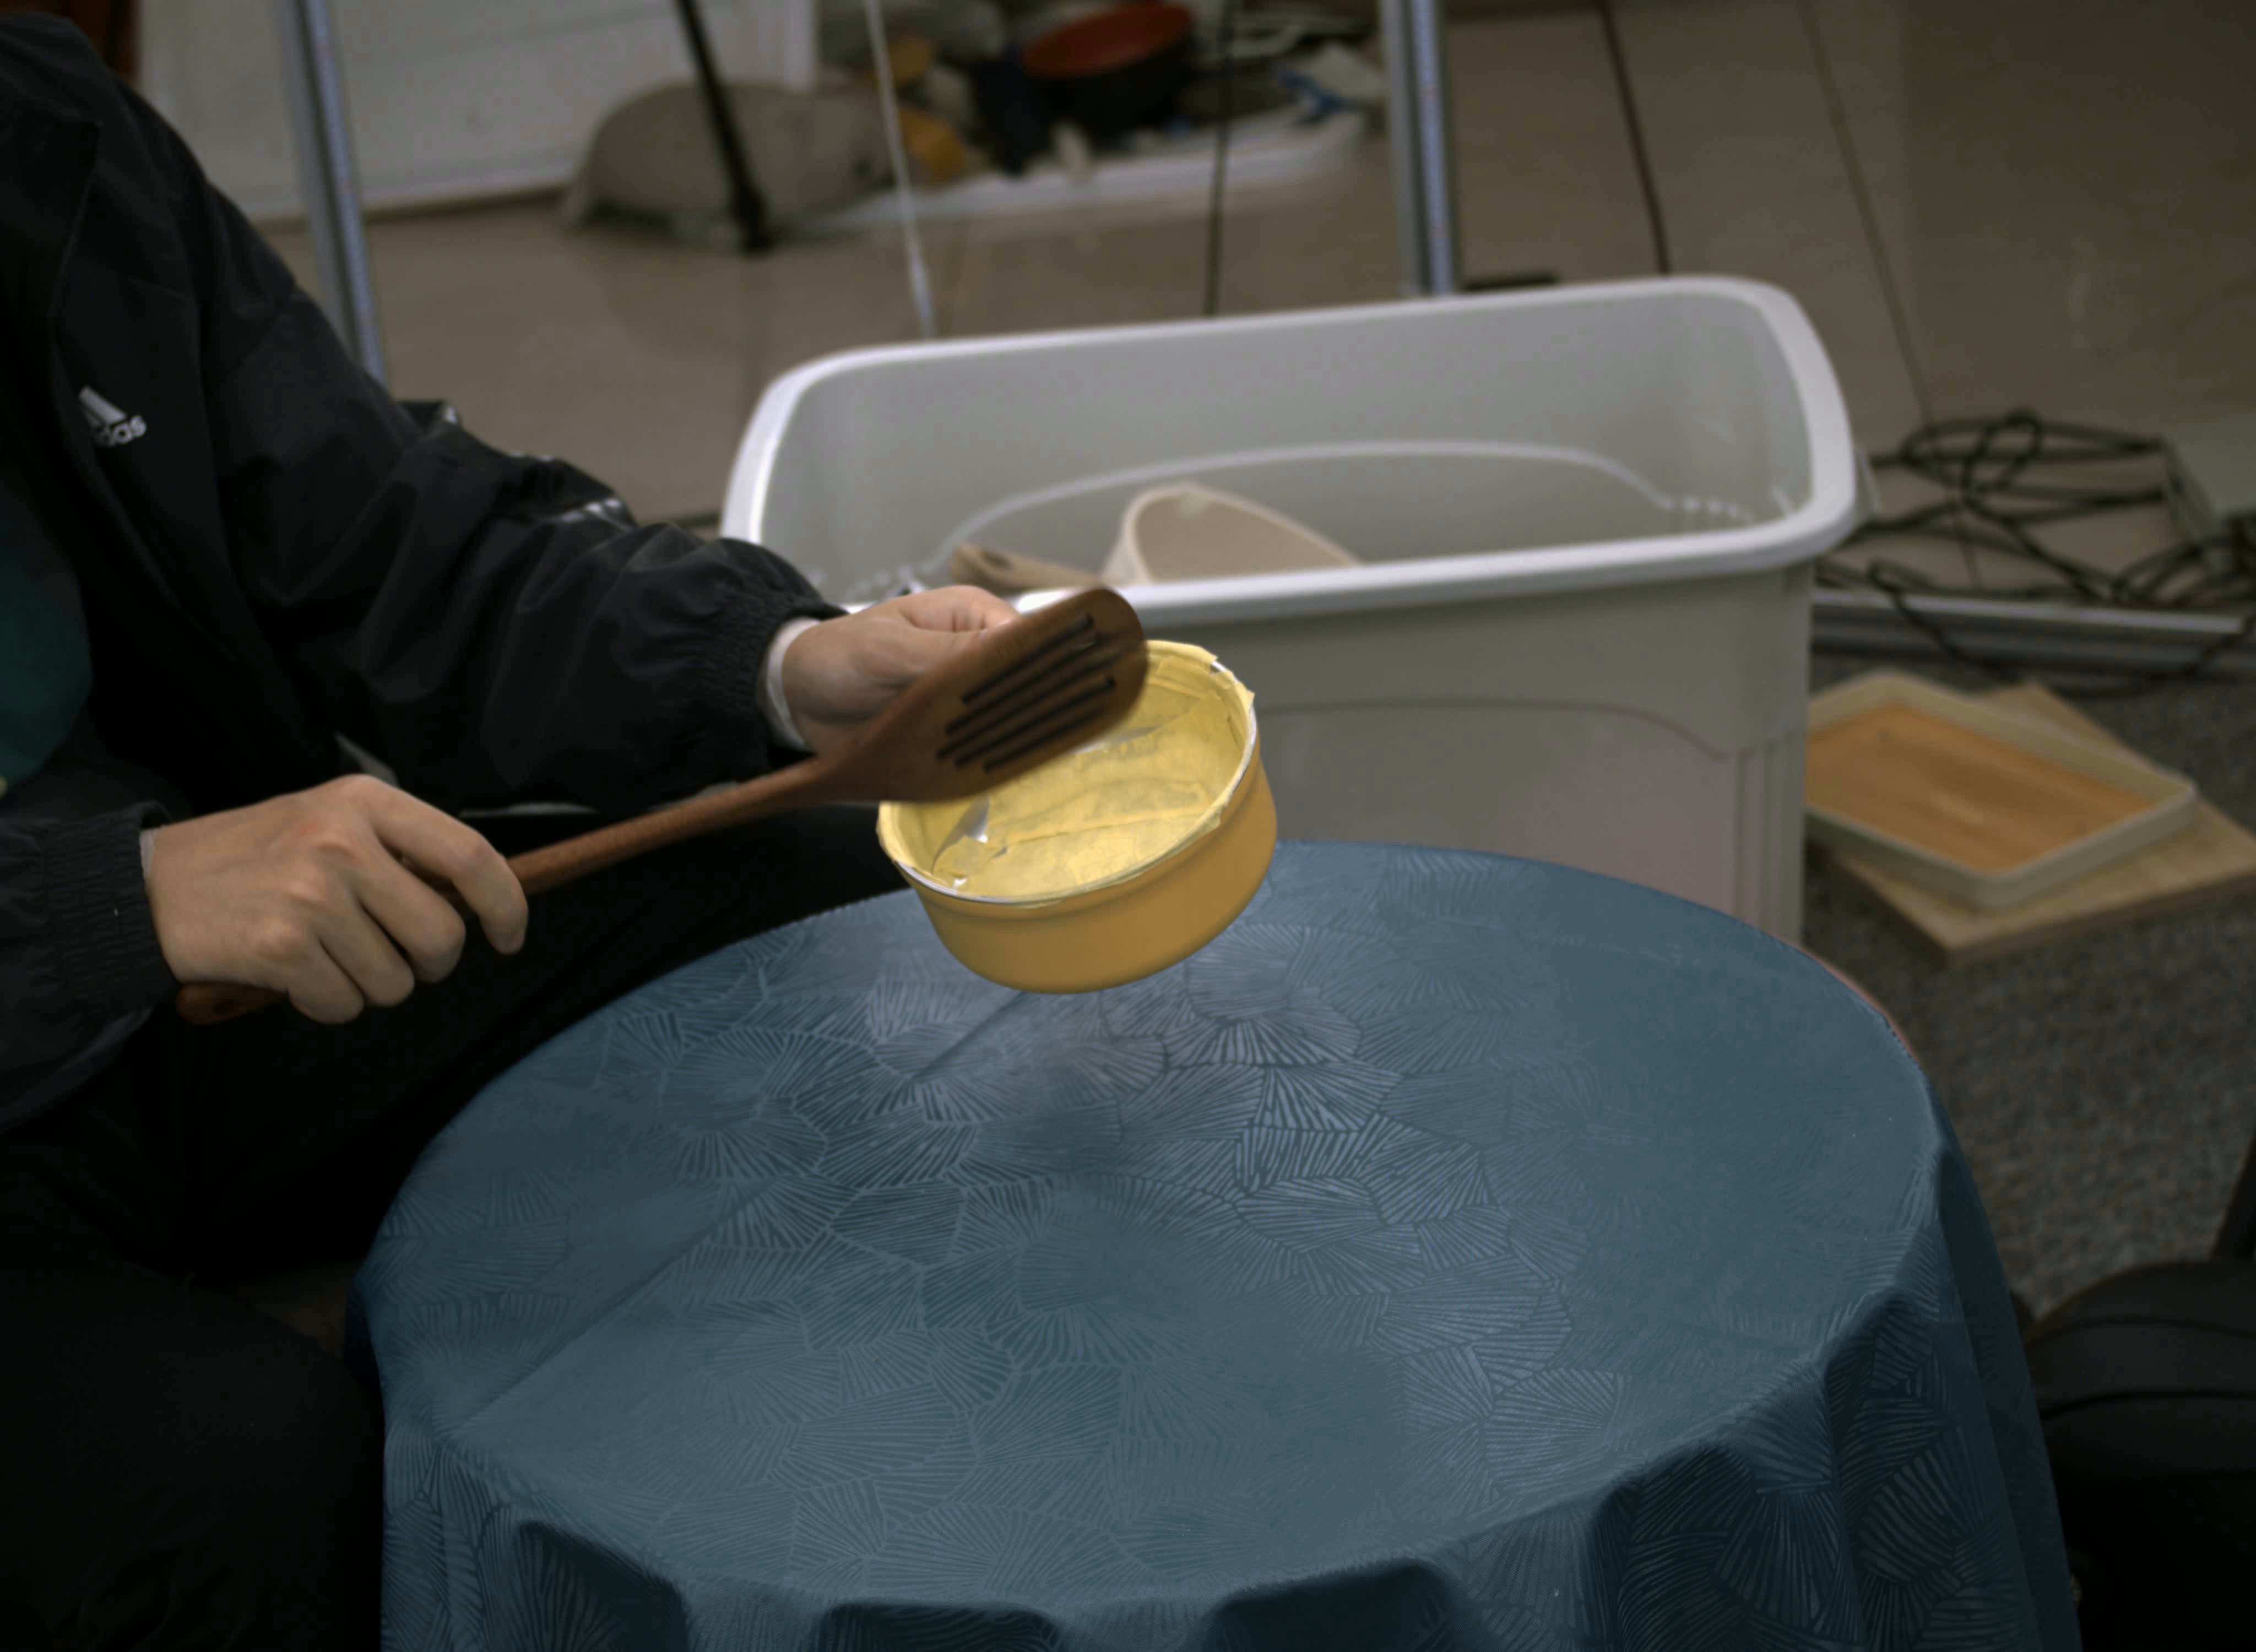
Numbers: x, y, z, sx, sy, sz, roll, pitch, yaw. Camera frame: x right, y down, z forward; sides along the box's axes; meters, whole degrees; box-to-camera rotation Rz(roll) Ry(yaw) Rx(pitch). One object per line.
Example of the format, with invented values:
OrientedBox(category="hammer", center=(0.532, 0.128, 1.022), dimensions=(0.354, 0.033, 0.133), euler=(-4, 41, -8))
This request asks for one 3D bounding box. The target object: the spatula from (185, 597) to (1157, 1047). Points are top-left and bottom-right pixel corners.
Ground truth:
OrientedBox(category="spatula", center=(-0.169, 0.008, 2.108), dimensions=(0.386, 0.087, 0.023), euler=(-21, 54, 0))

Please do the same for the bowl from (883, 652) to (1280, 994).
OrientedBox(category="bowl", center=(-0.019, -0.004, 2.216), dimensions=(0.152, 0.075, 0.177), euler=(-32, 40, -15))
